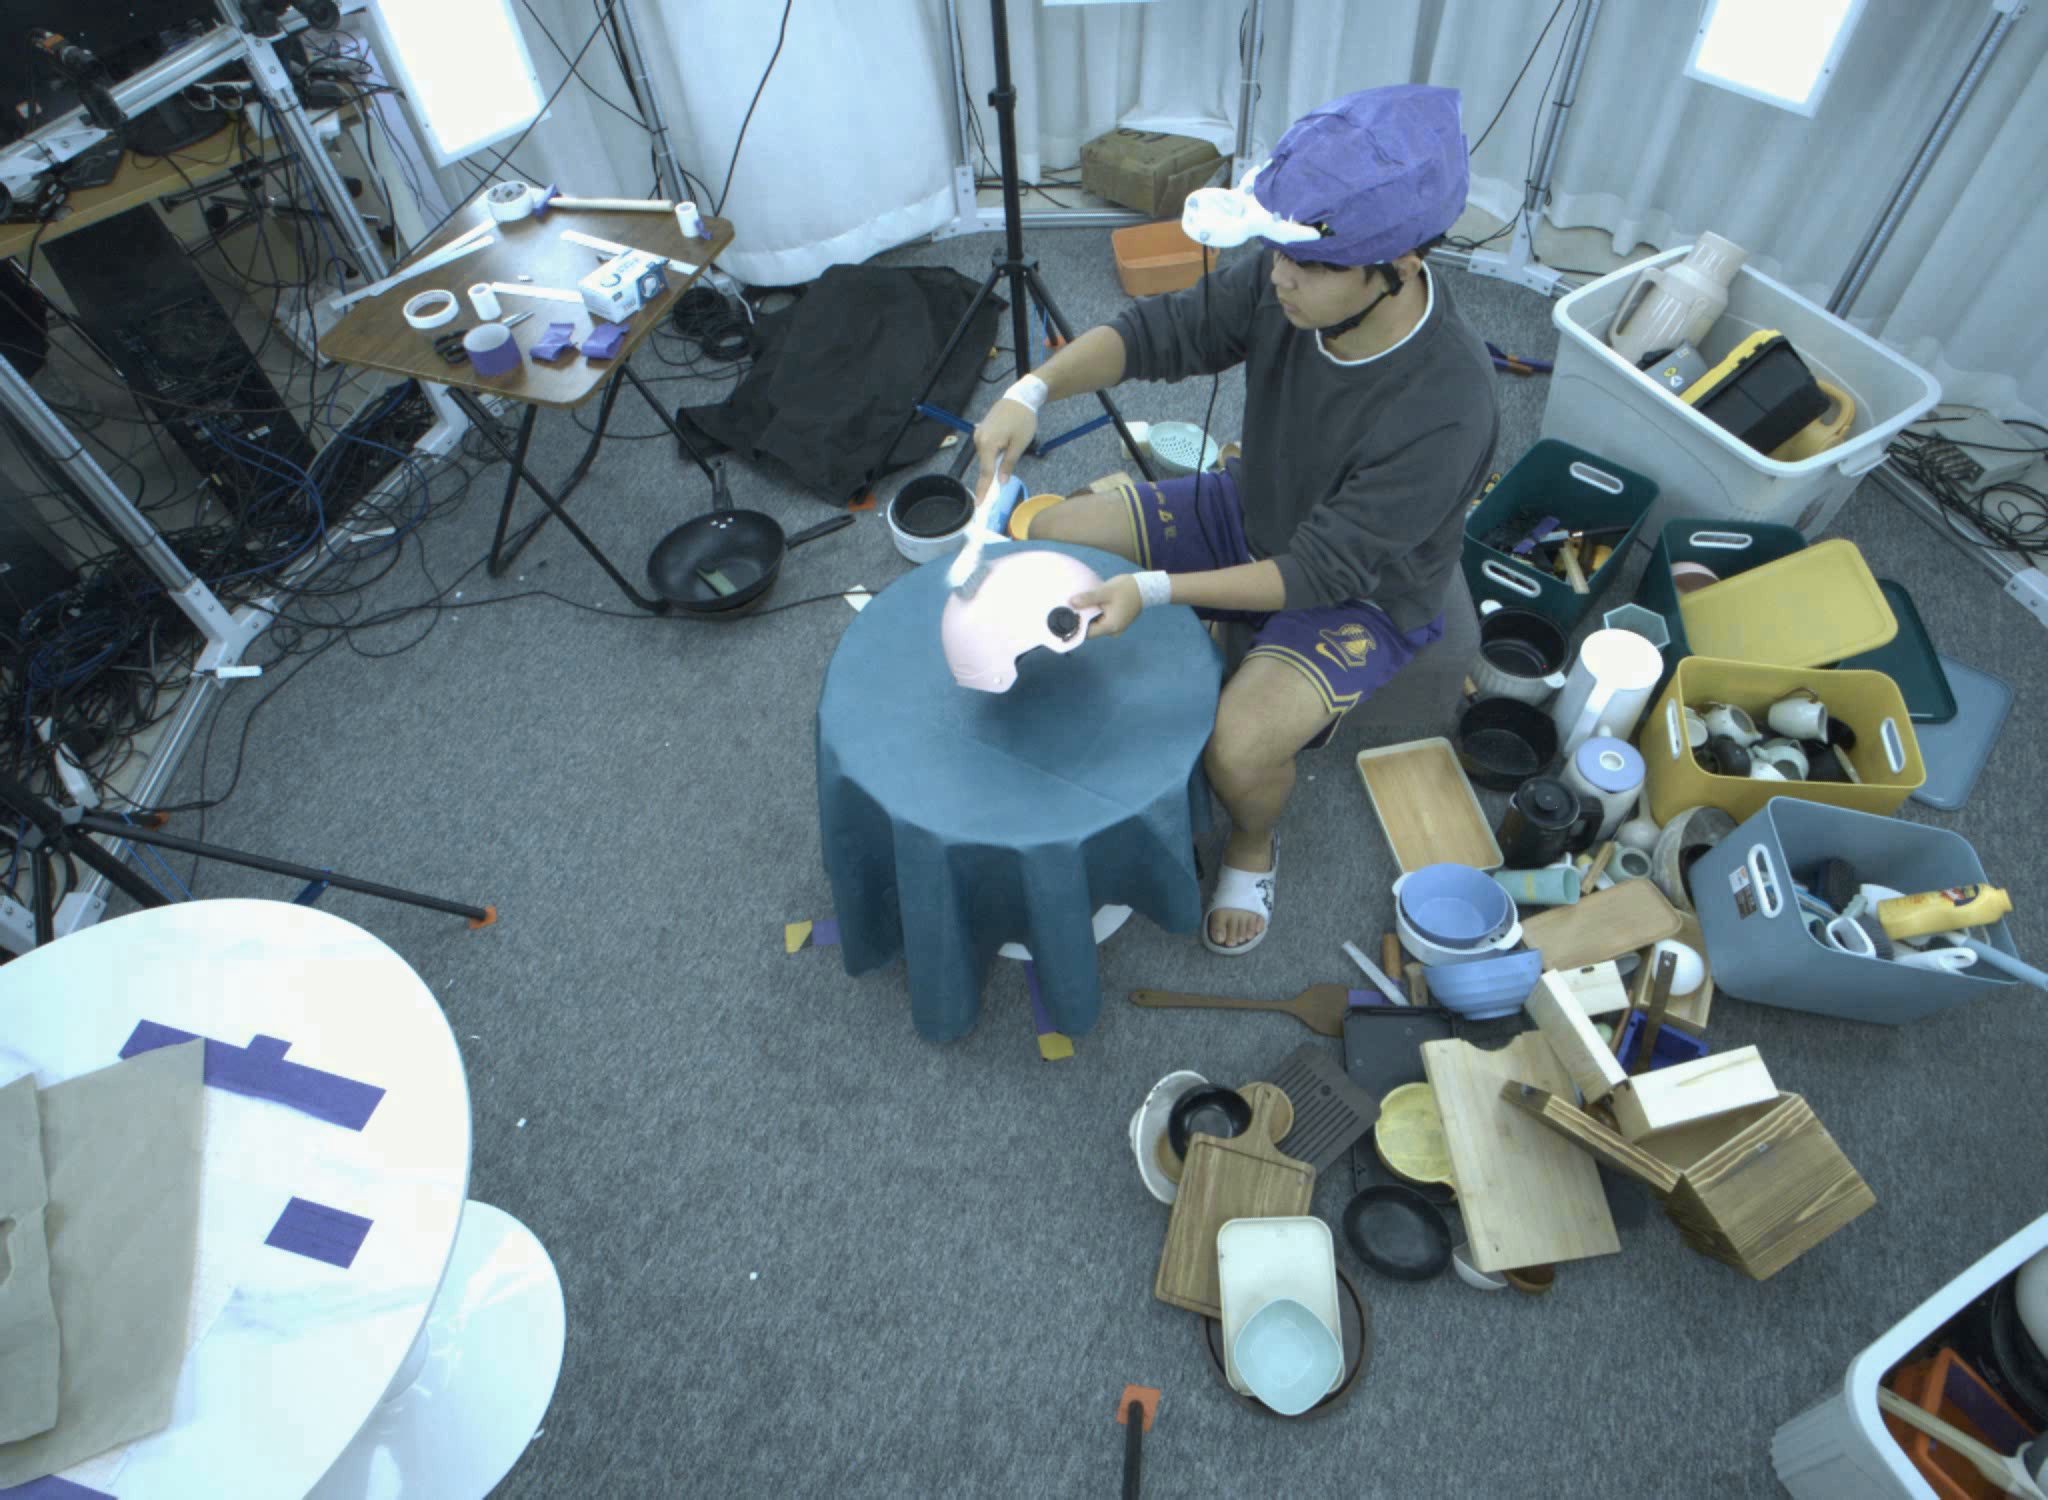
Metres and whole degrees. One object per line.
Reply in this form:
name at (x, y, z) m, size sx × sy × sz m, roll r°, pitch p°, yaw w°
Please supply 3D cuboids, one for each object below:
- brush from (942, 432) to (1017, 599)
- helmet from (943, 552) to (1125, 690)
brush at (-0.049, -0.322, 1.678) m, size 0.033 × 0.051 × 0.243 m, roll 15°, pitch 81°, yaw 45°
helmet at (-0.004, -0.202, 1.751) m, size 0.267 × 0.231 × 0.160 m, roll -30°, pitch 101°, yaw -8°
